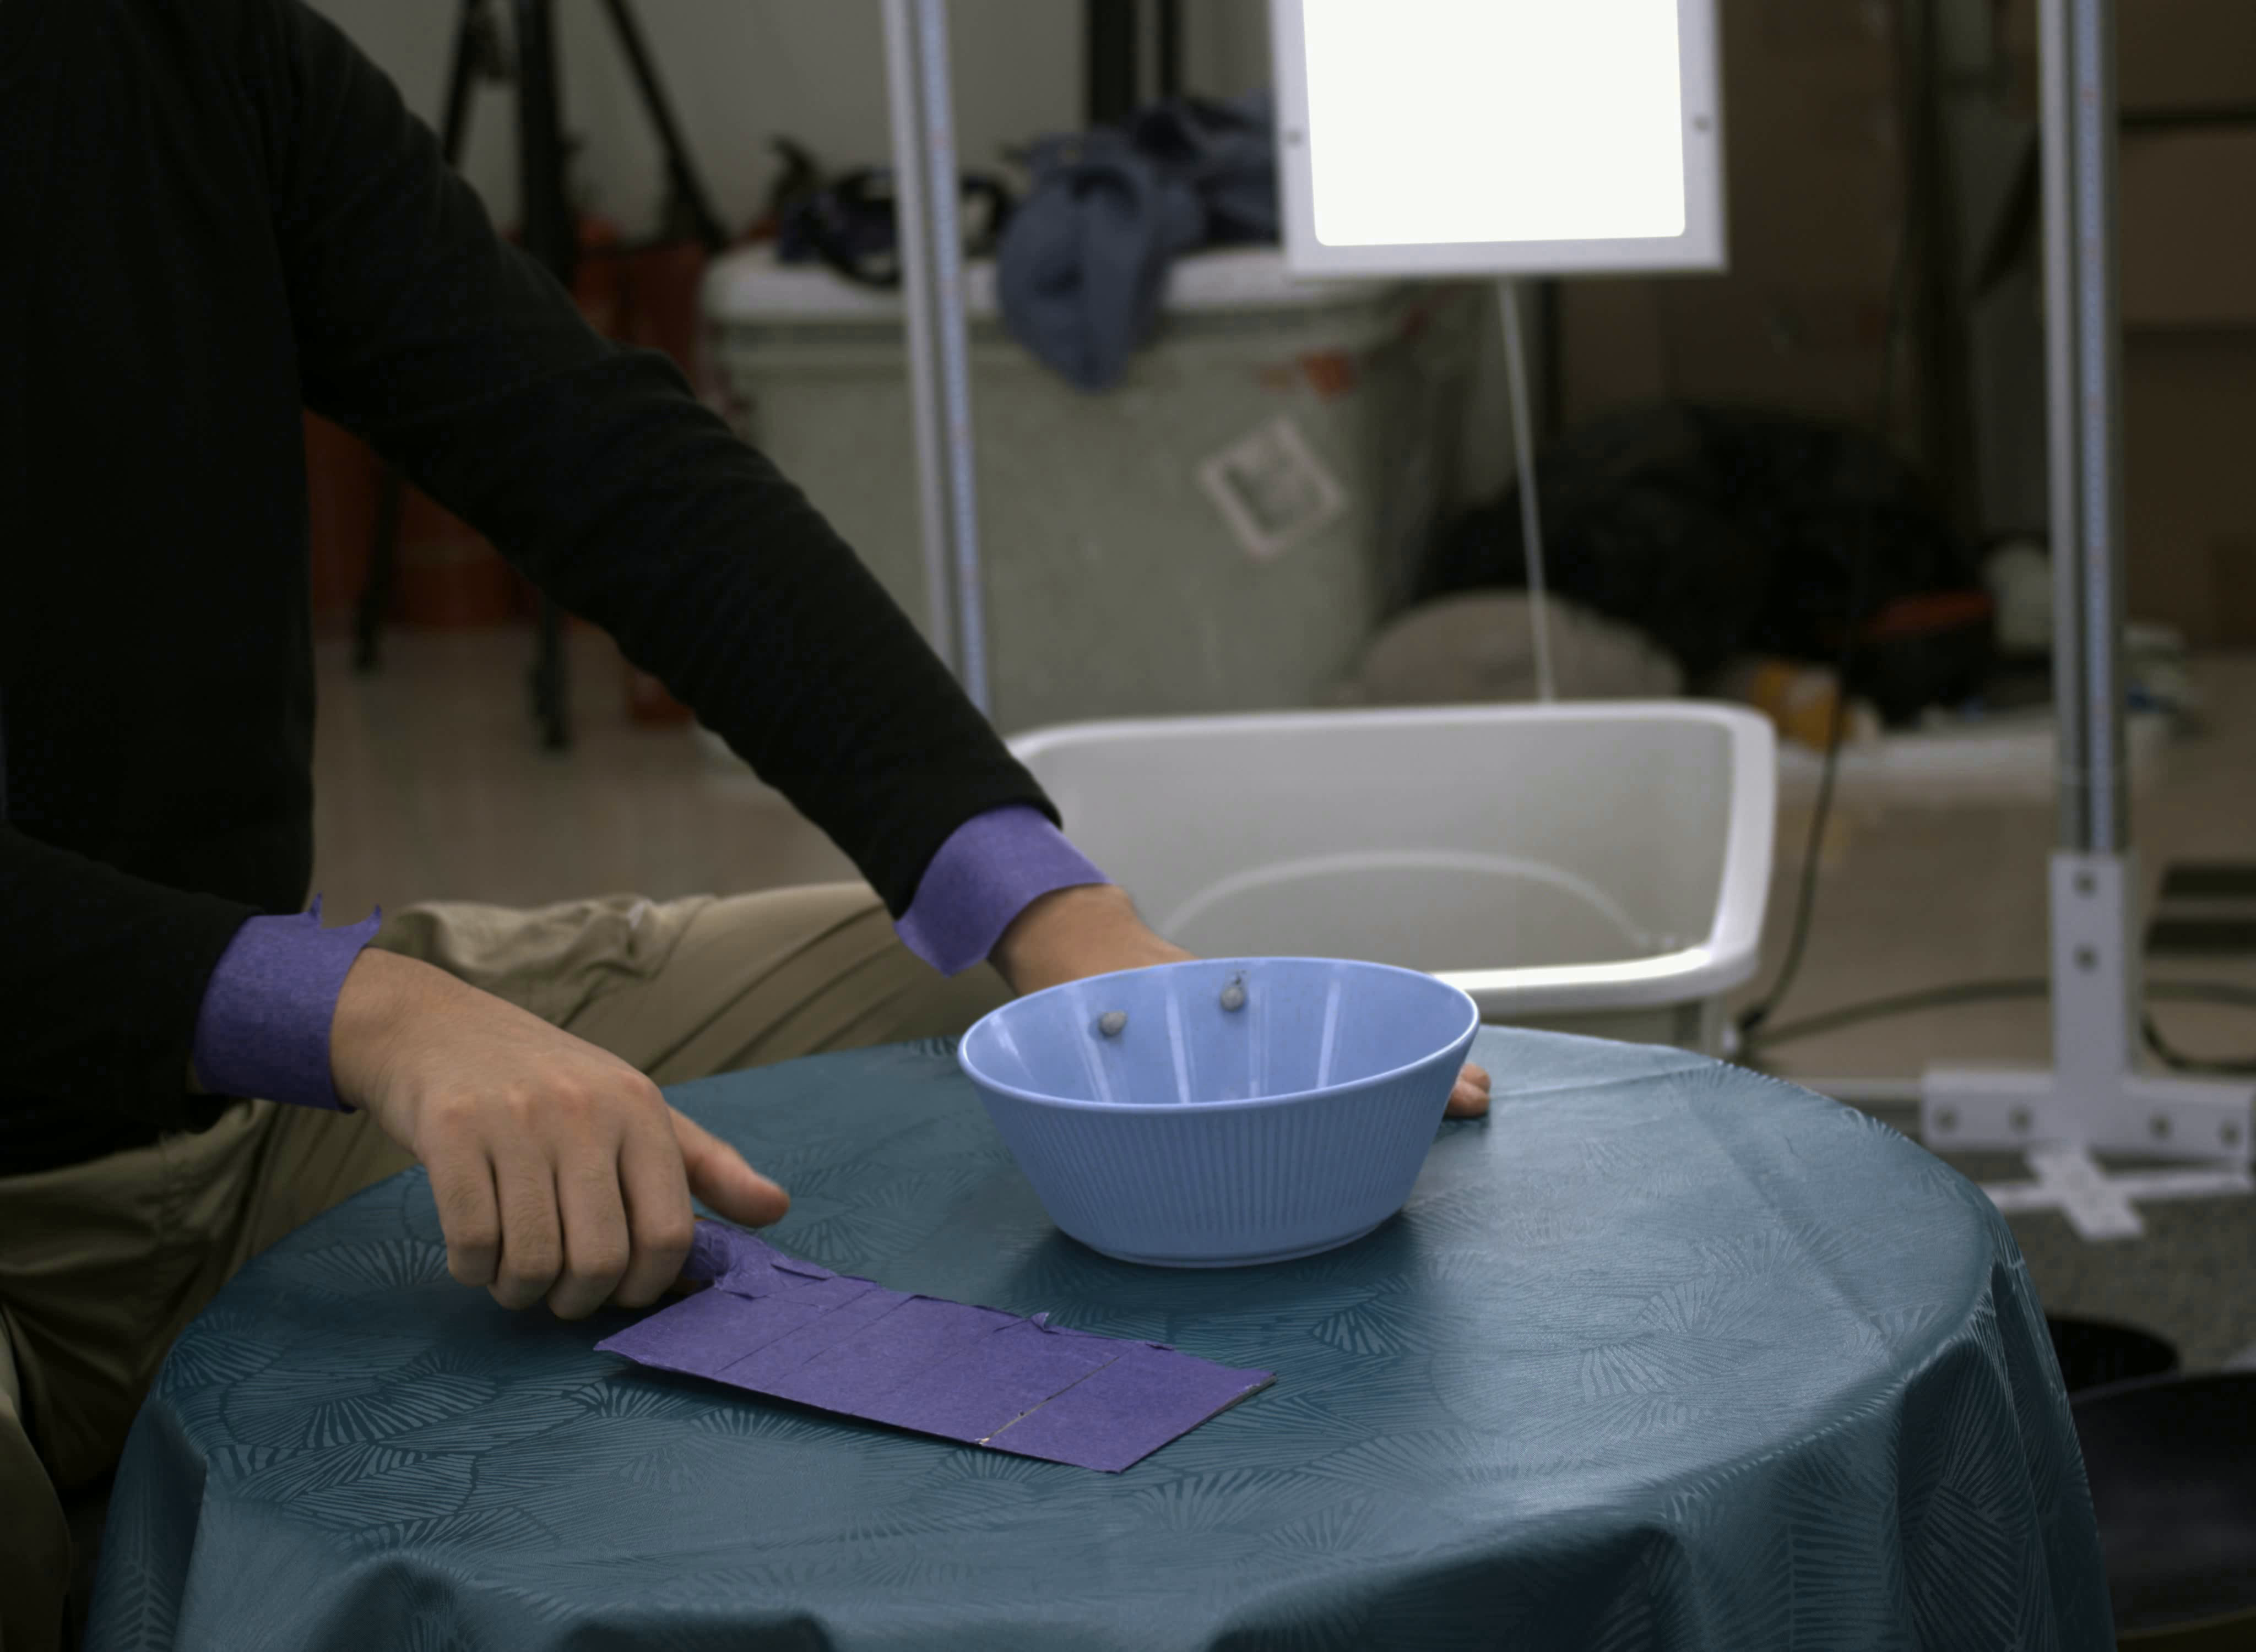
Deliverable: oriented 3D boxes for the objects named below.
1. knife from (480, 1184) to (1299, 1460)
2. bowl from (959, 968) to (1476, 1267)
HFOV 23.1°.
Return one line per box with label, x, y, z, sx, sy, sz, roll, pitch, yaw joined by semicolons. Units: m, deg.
knife;-0.101;0.157;1.758;0.322;0.032;0.101;6;17;36
bowl;0.033;0.100;1.848;0.175;0.070;0.176;-5;12;0
